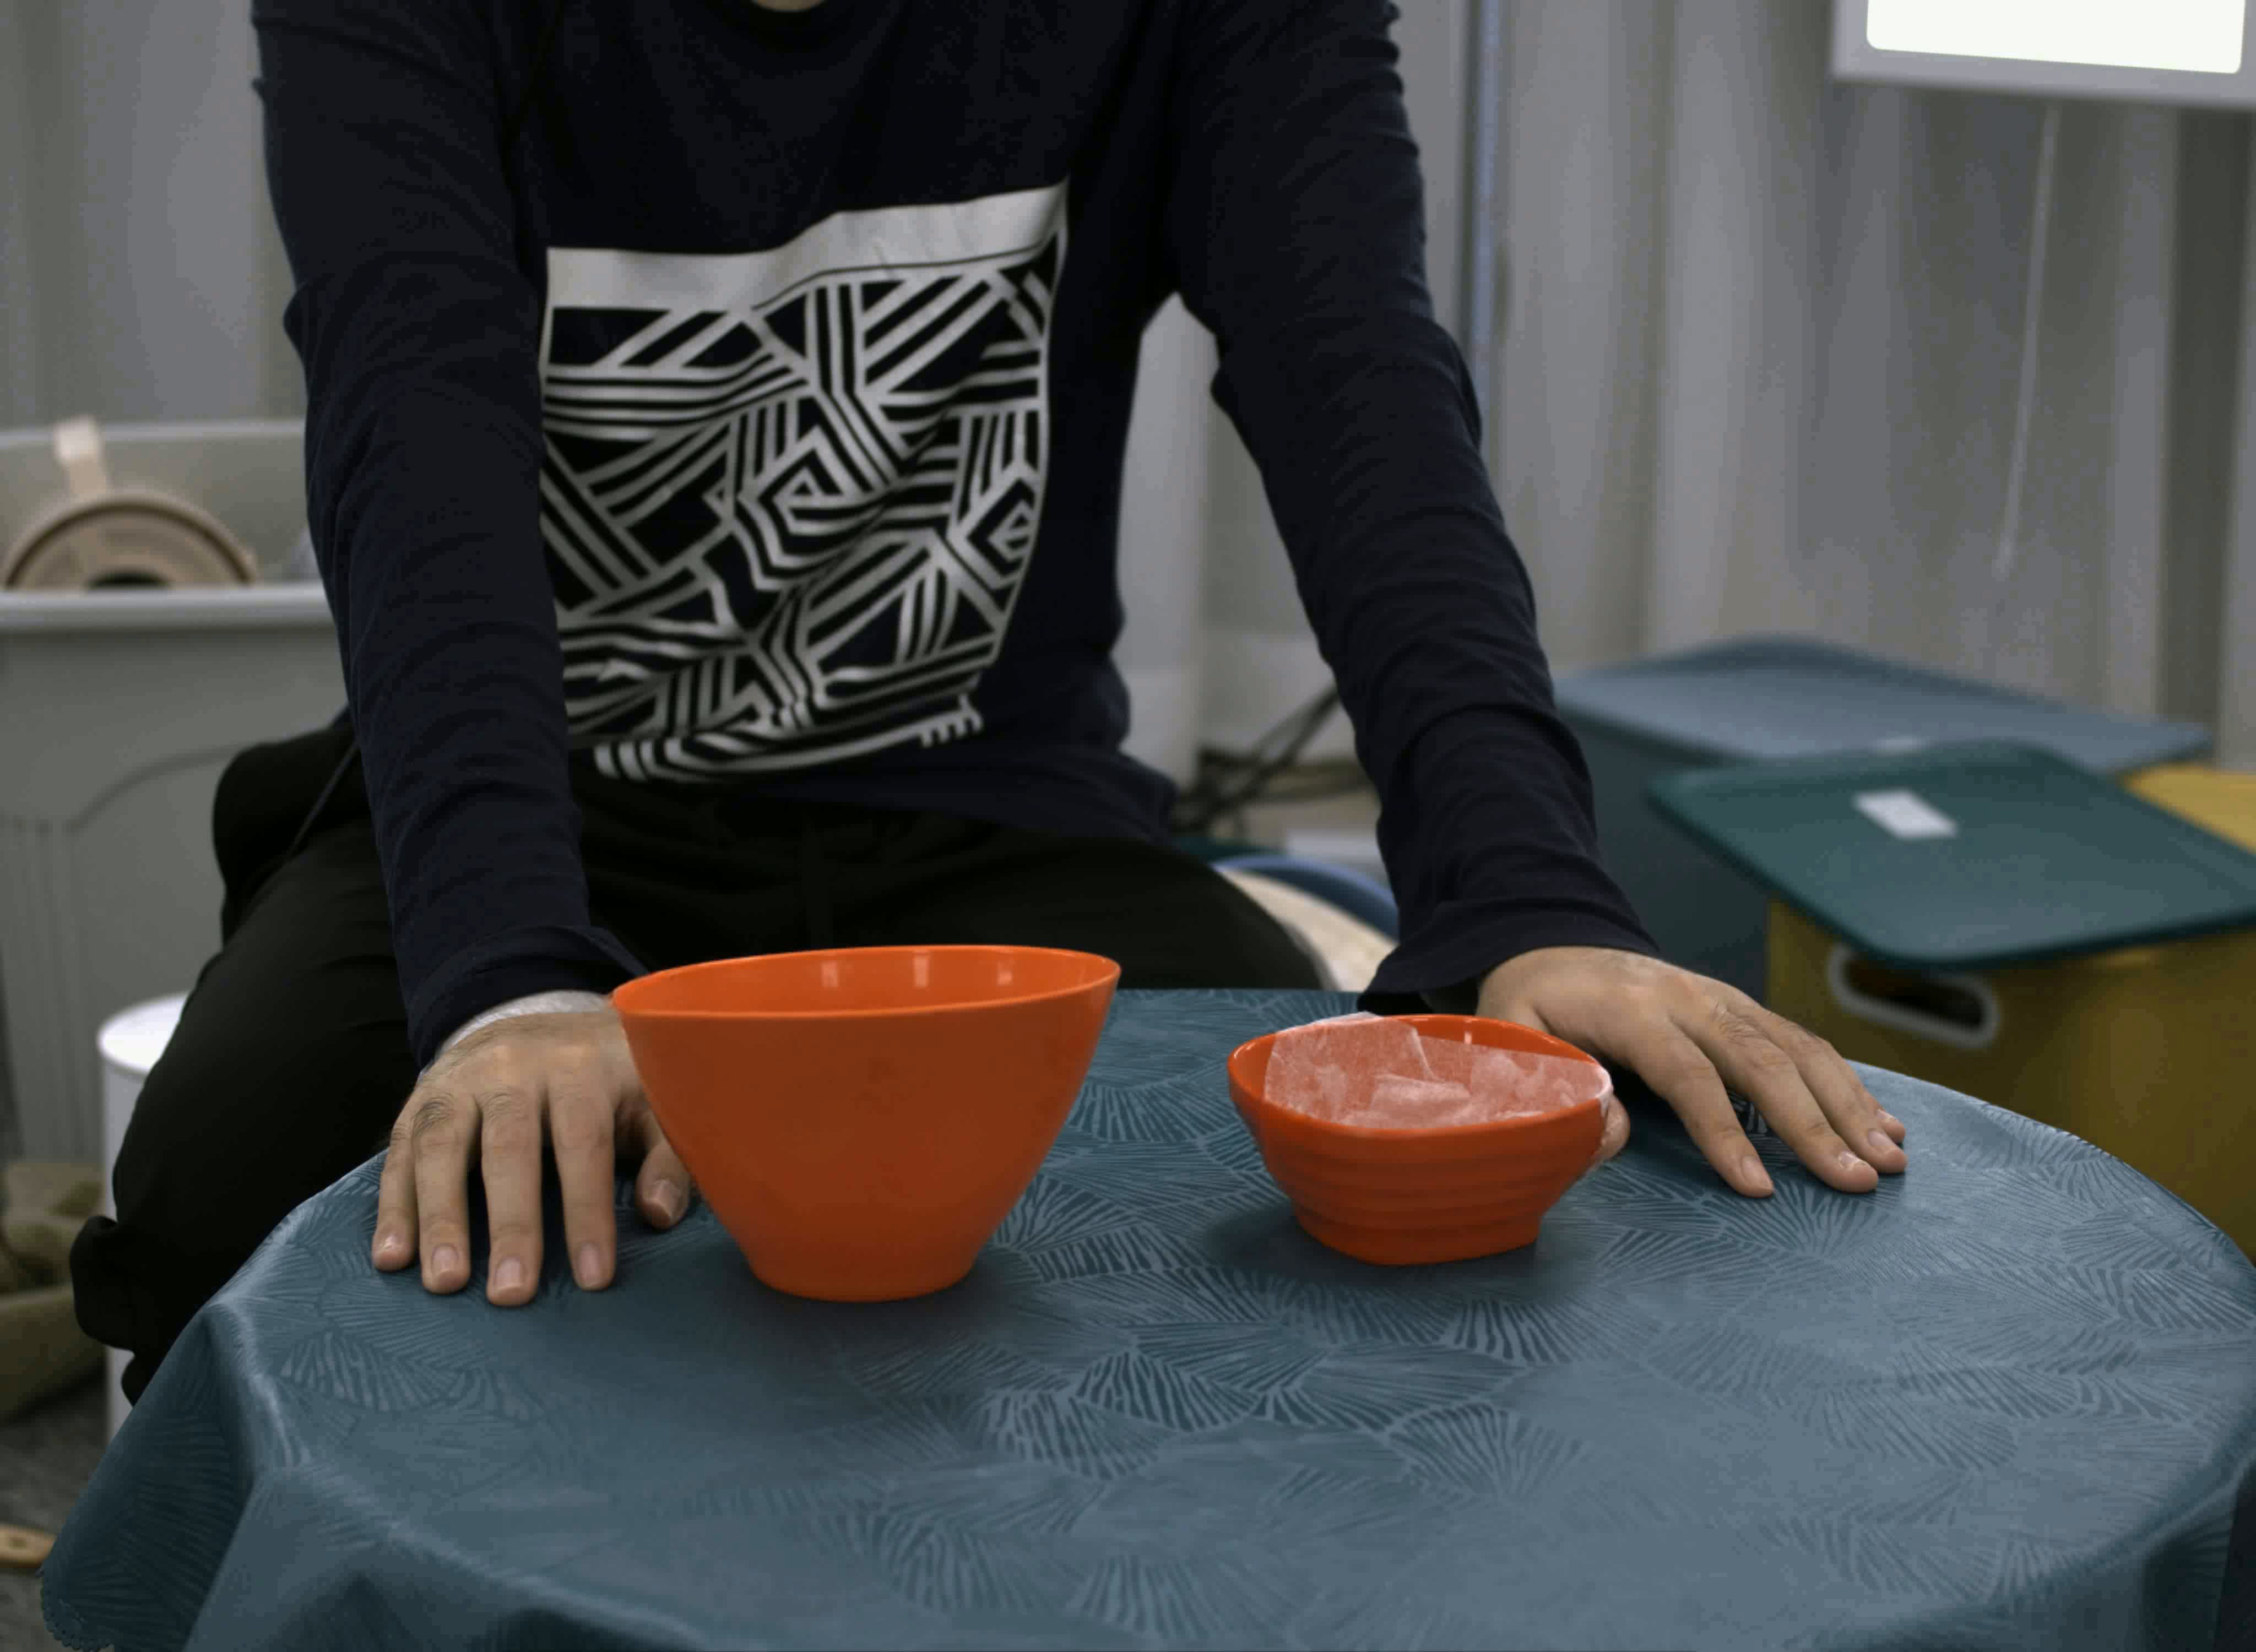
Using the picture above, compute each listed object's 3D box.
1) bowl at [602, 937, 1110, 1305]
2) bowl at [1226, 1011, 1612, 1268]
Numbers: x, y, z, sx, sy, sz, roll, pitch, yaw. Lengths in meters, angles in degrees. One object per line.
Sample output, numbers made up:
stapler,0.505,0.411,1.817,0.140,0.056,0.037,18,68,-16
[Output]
bowl,-0.079,0.084,1.535,0.147,0.105,0.147,0,16,1
bowl,0.088,0.096,1.591,0.118,0.052,0.118,-1,16,1
